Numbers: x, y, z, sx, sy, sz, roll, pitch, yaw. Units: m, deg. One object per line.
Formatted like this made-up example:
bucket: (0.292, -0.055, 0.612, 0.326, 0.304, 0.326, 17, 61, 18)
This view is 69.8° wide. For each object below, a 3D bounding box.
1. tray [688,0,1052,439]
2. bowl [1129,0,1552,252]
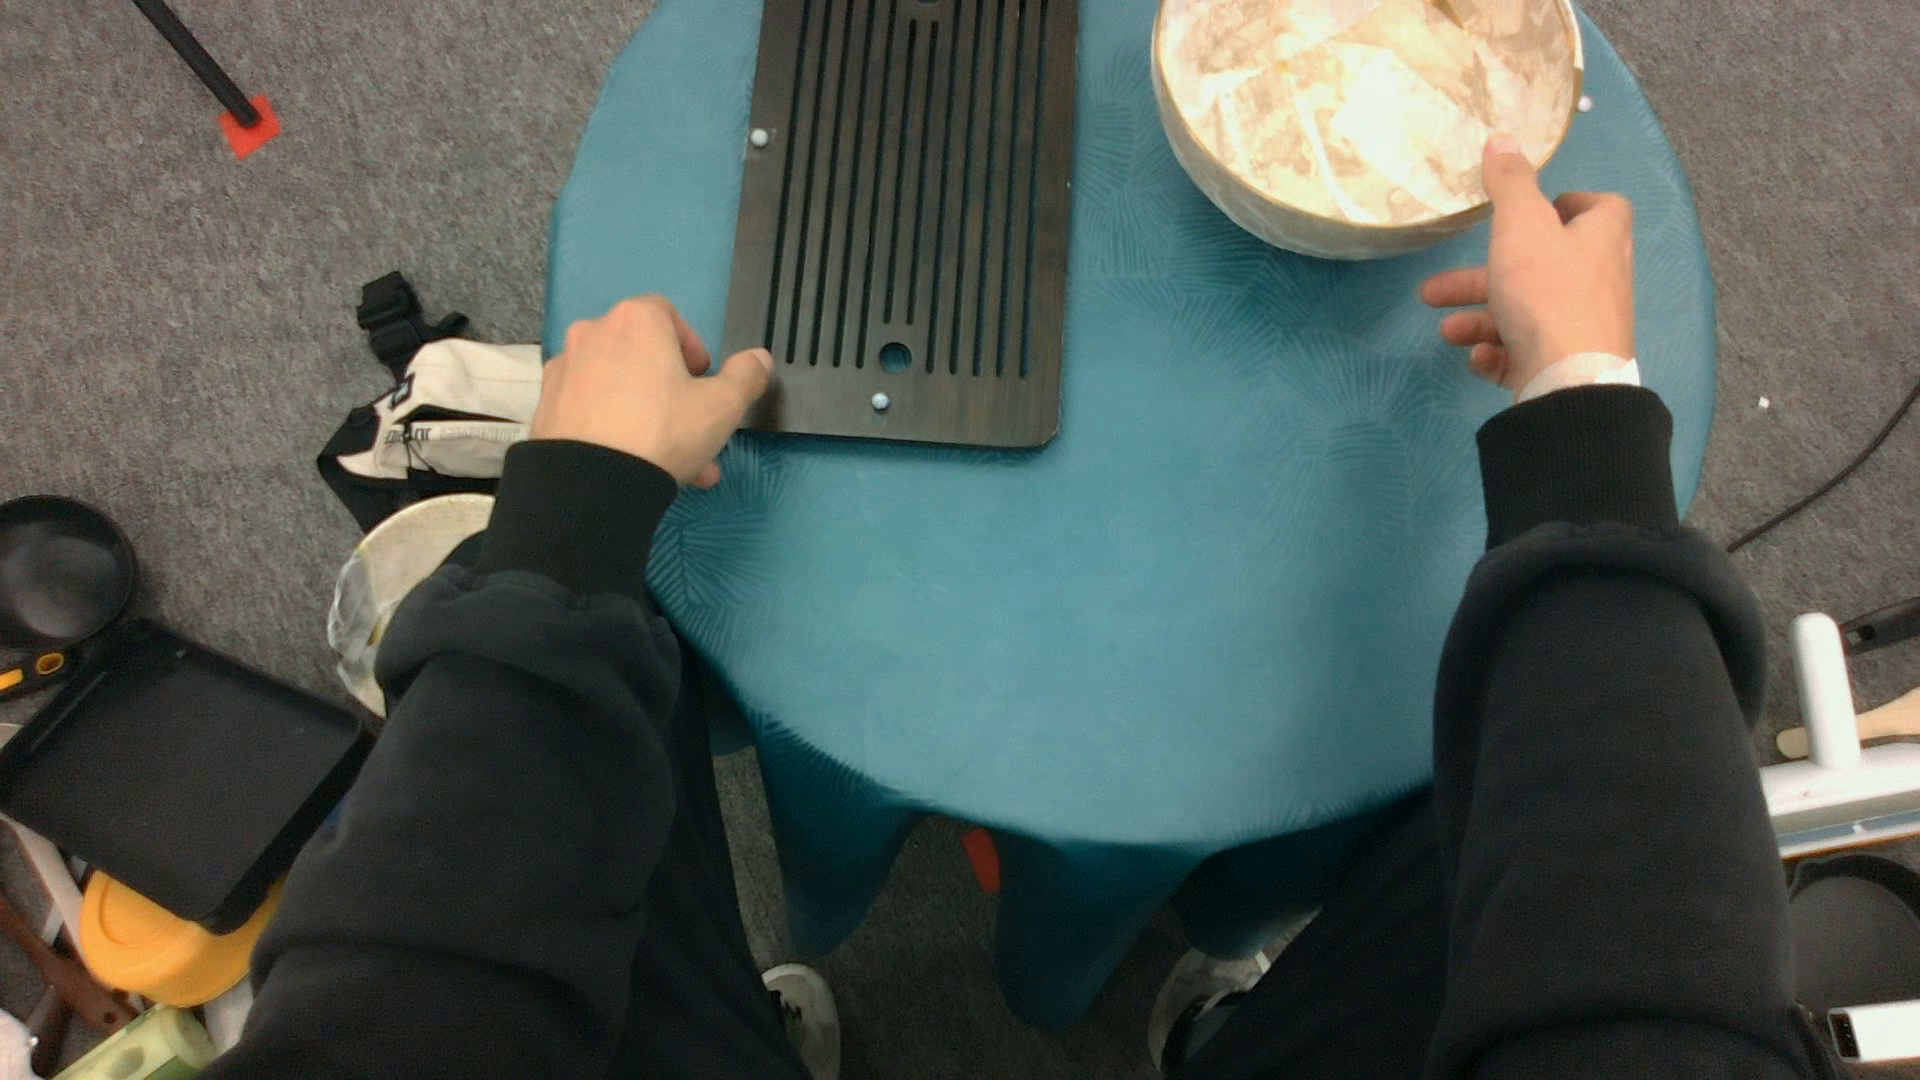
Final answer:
tray: (-0.041, -0.197, 0.720, 0.170, 0.018, 0.307, 4, 72, 0)
bowl: (0.178, -0.226, 0.697, 0.215, 0.094, 0.215, 1, 72, -2)
